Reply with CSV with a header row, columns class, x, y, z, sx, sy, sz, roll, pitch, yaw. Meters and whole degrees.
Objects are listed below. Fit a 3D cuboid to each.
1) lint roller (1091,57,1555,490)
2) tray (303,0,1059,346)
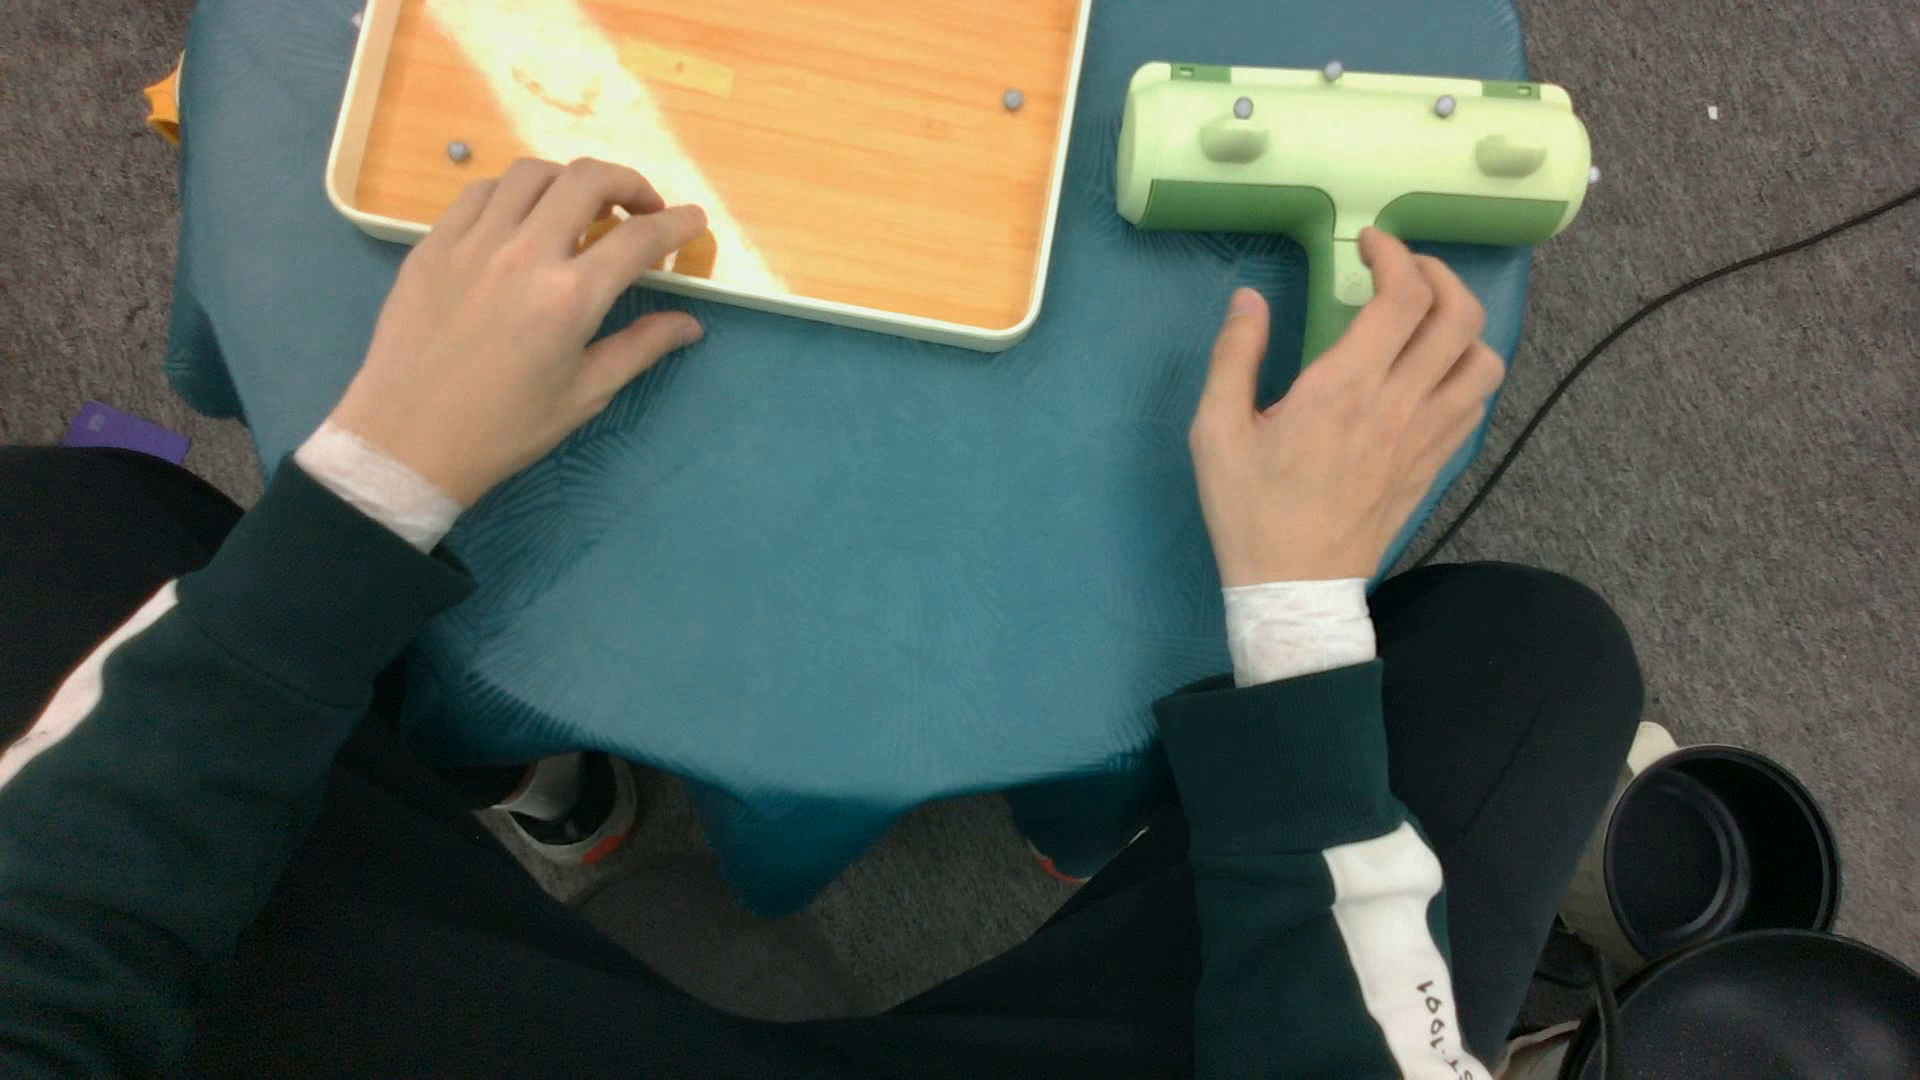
class,x,y,z,sx,sy,sz,roll,pitch,yaw
lint roller,0.158,-0.118,0.585,0.199,0.082,0.183,1,77,-5
tray,-0.113,-0.198,0.599,0.300,0.027,0.192,9,81,-4
